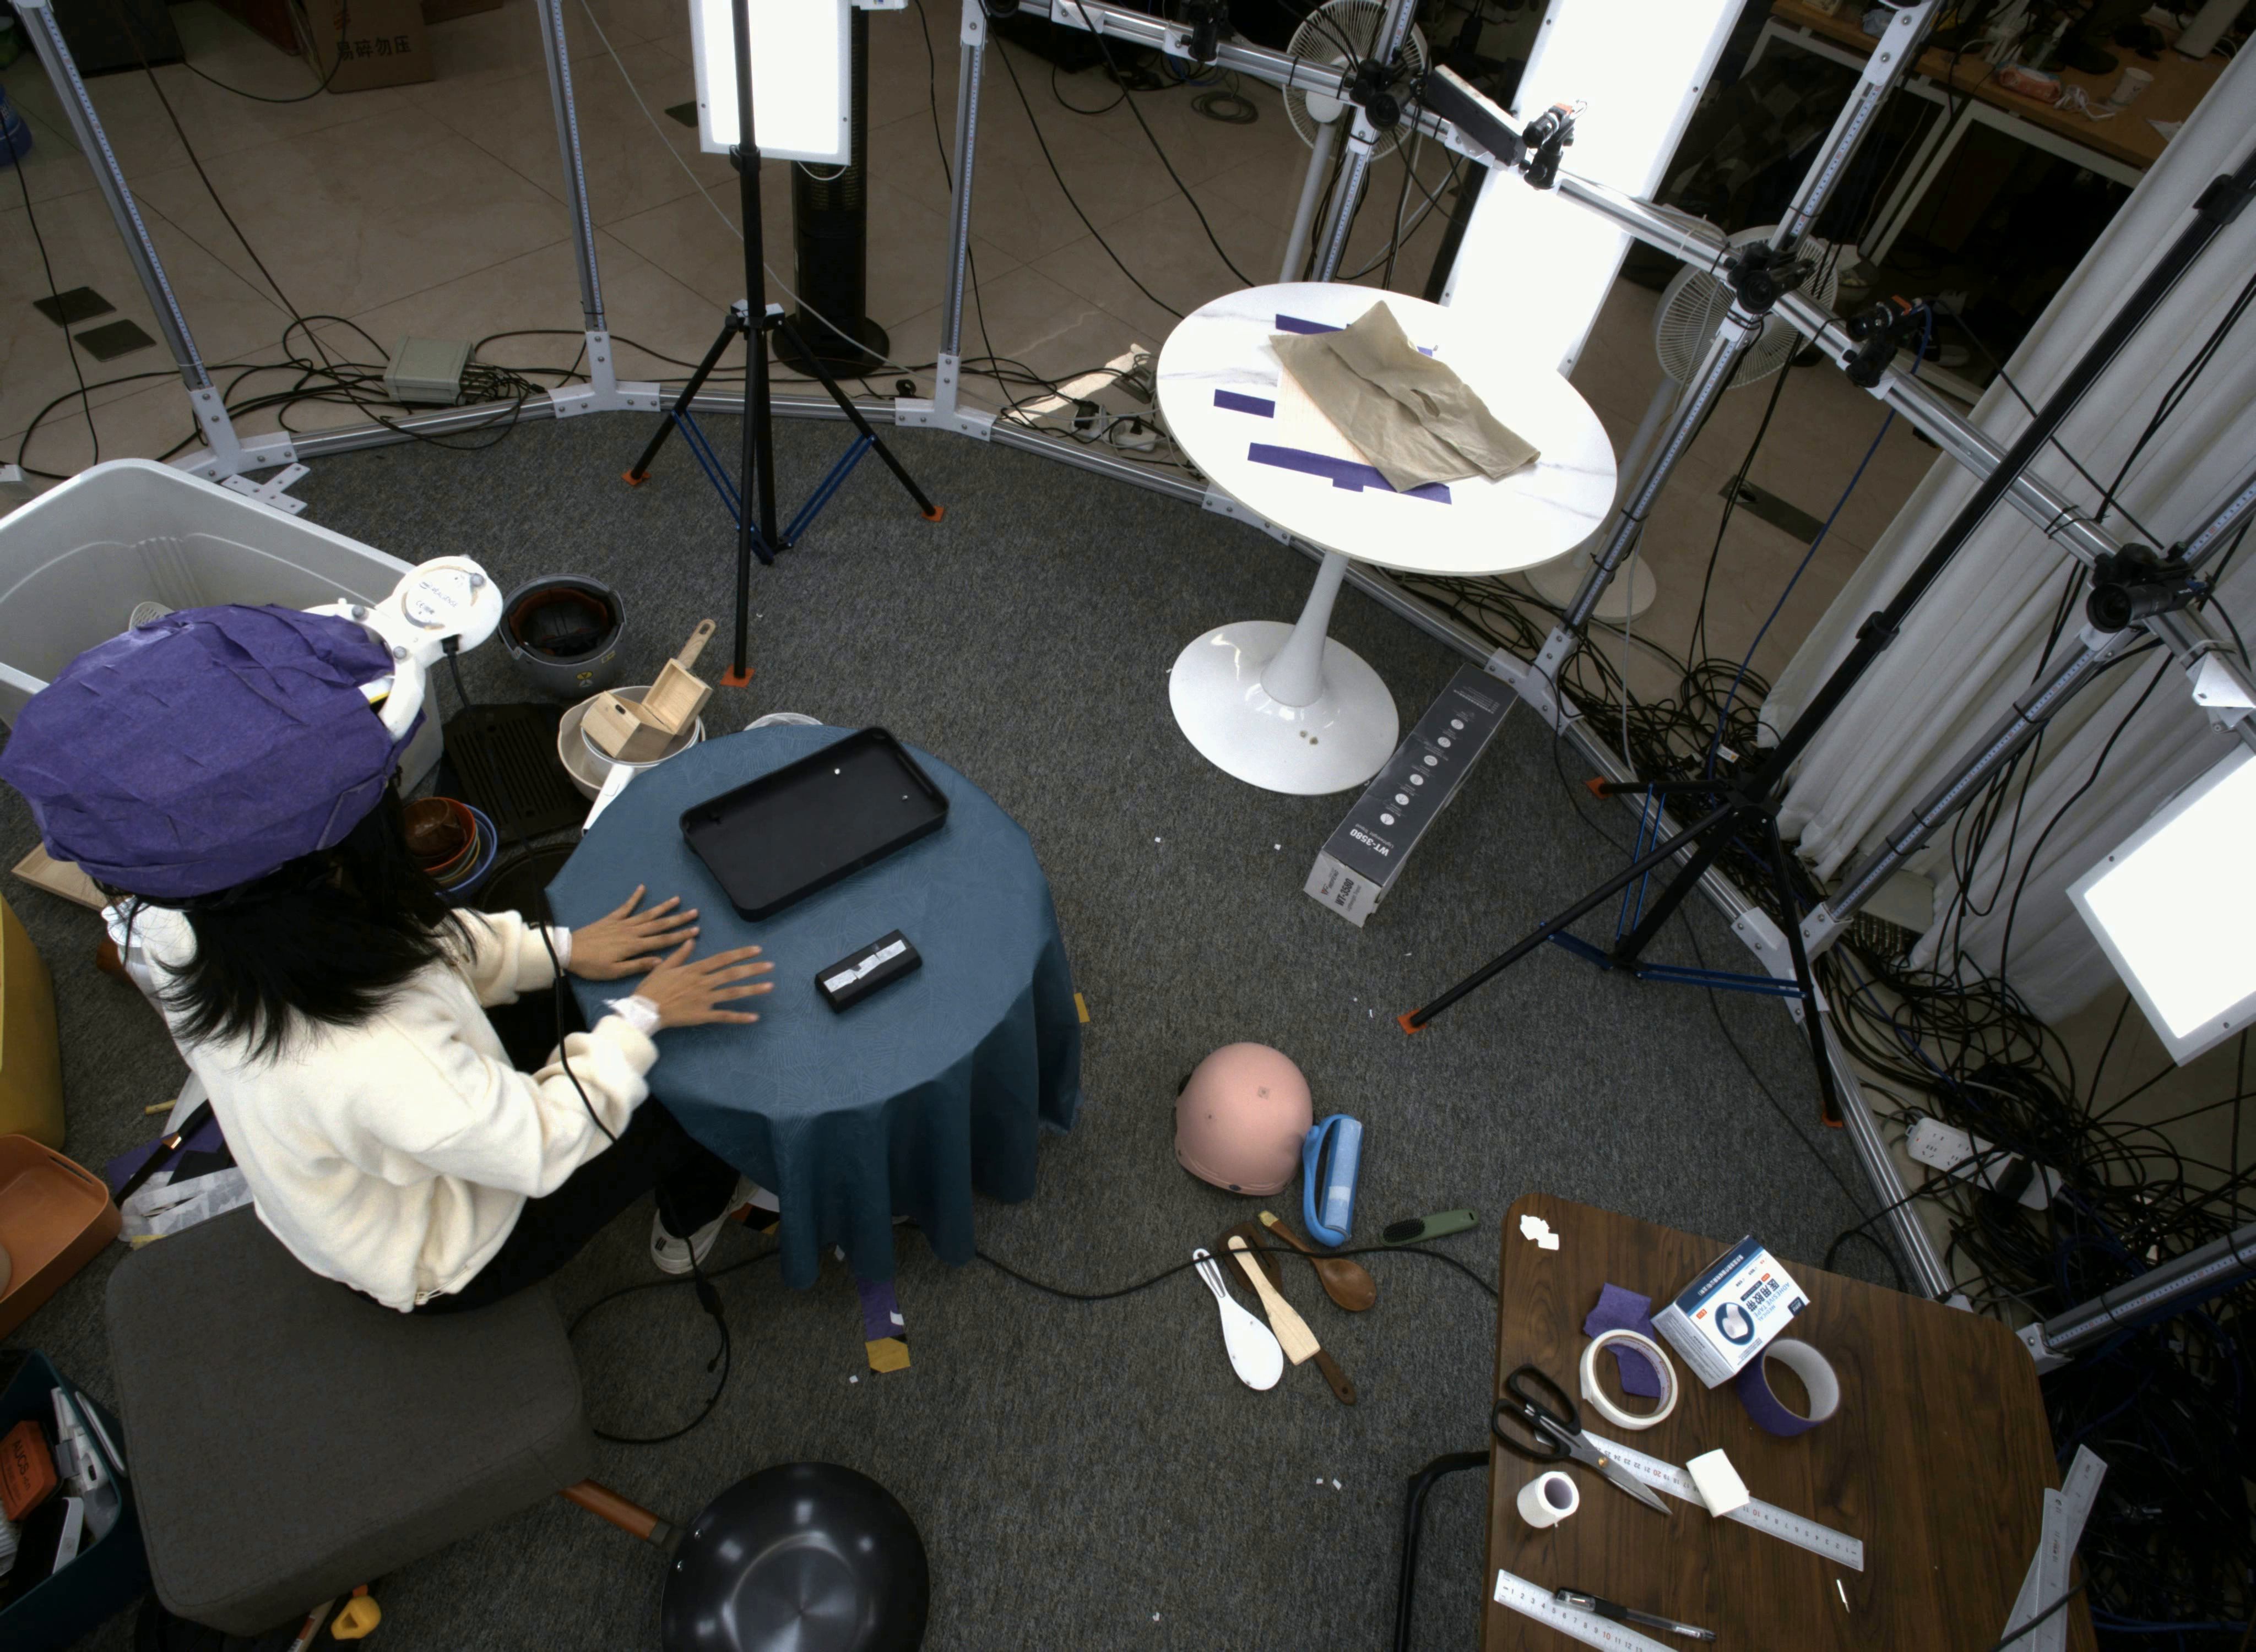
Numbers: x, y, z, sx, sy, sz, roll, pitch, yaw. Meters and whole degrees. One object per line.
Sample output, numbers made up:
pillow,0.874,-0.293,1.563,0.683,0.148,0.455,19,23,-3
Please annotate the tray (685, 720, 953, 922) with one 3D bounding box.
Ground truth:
tray,-0.403,-0.014,1.711,0.319,0.038,0.180,-33,67,-33

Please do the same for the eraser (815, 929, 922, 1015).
eraser,-0.318,0.175,1.598,0.126,0.031,0.052,-31,62,-31
